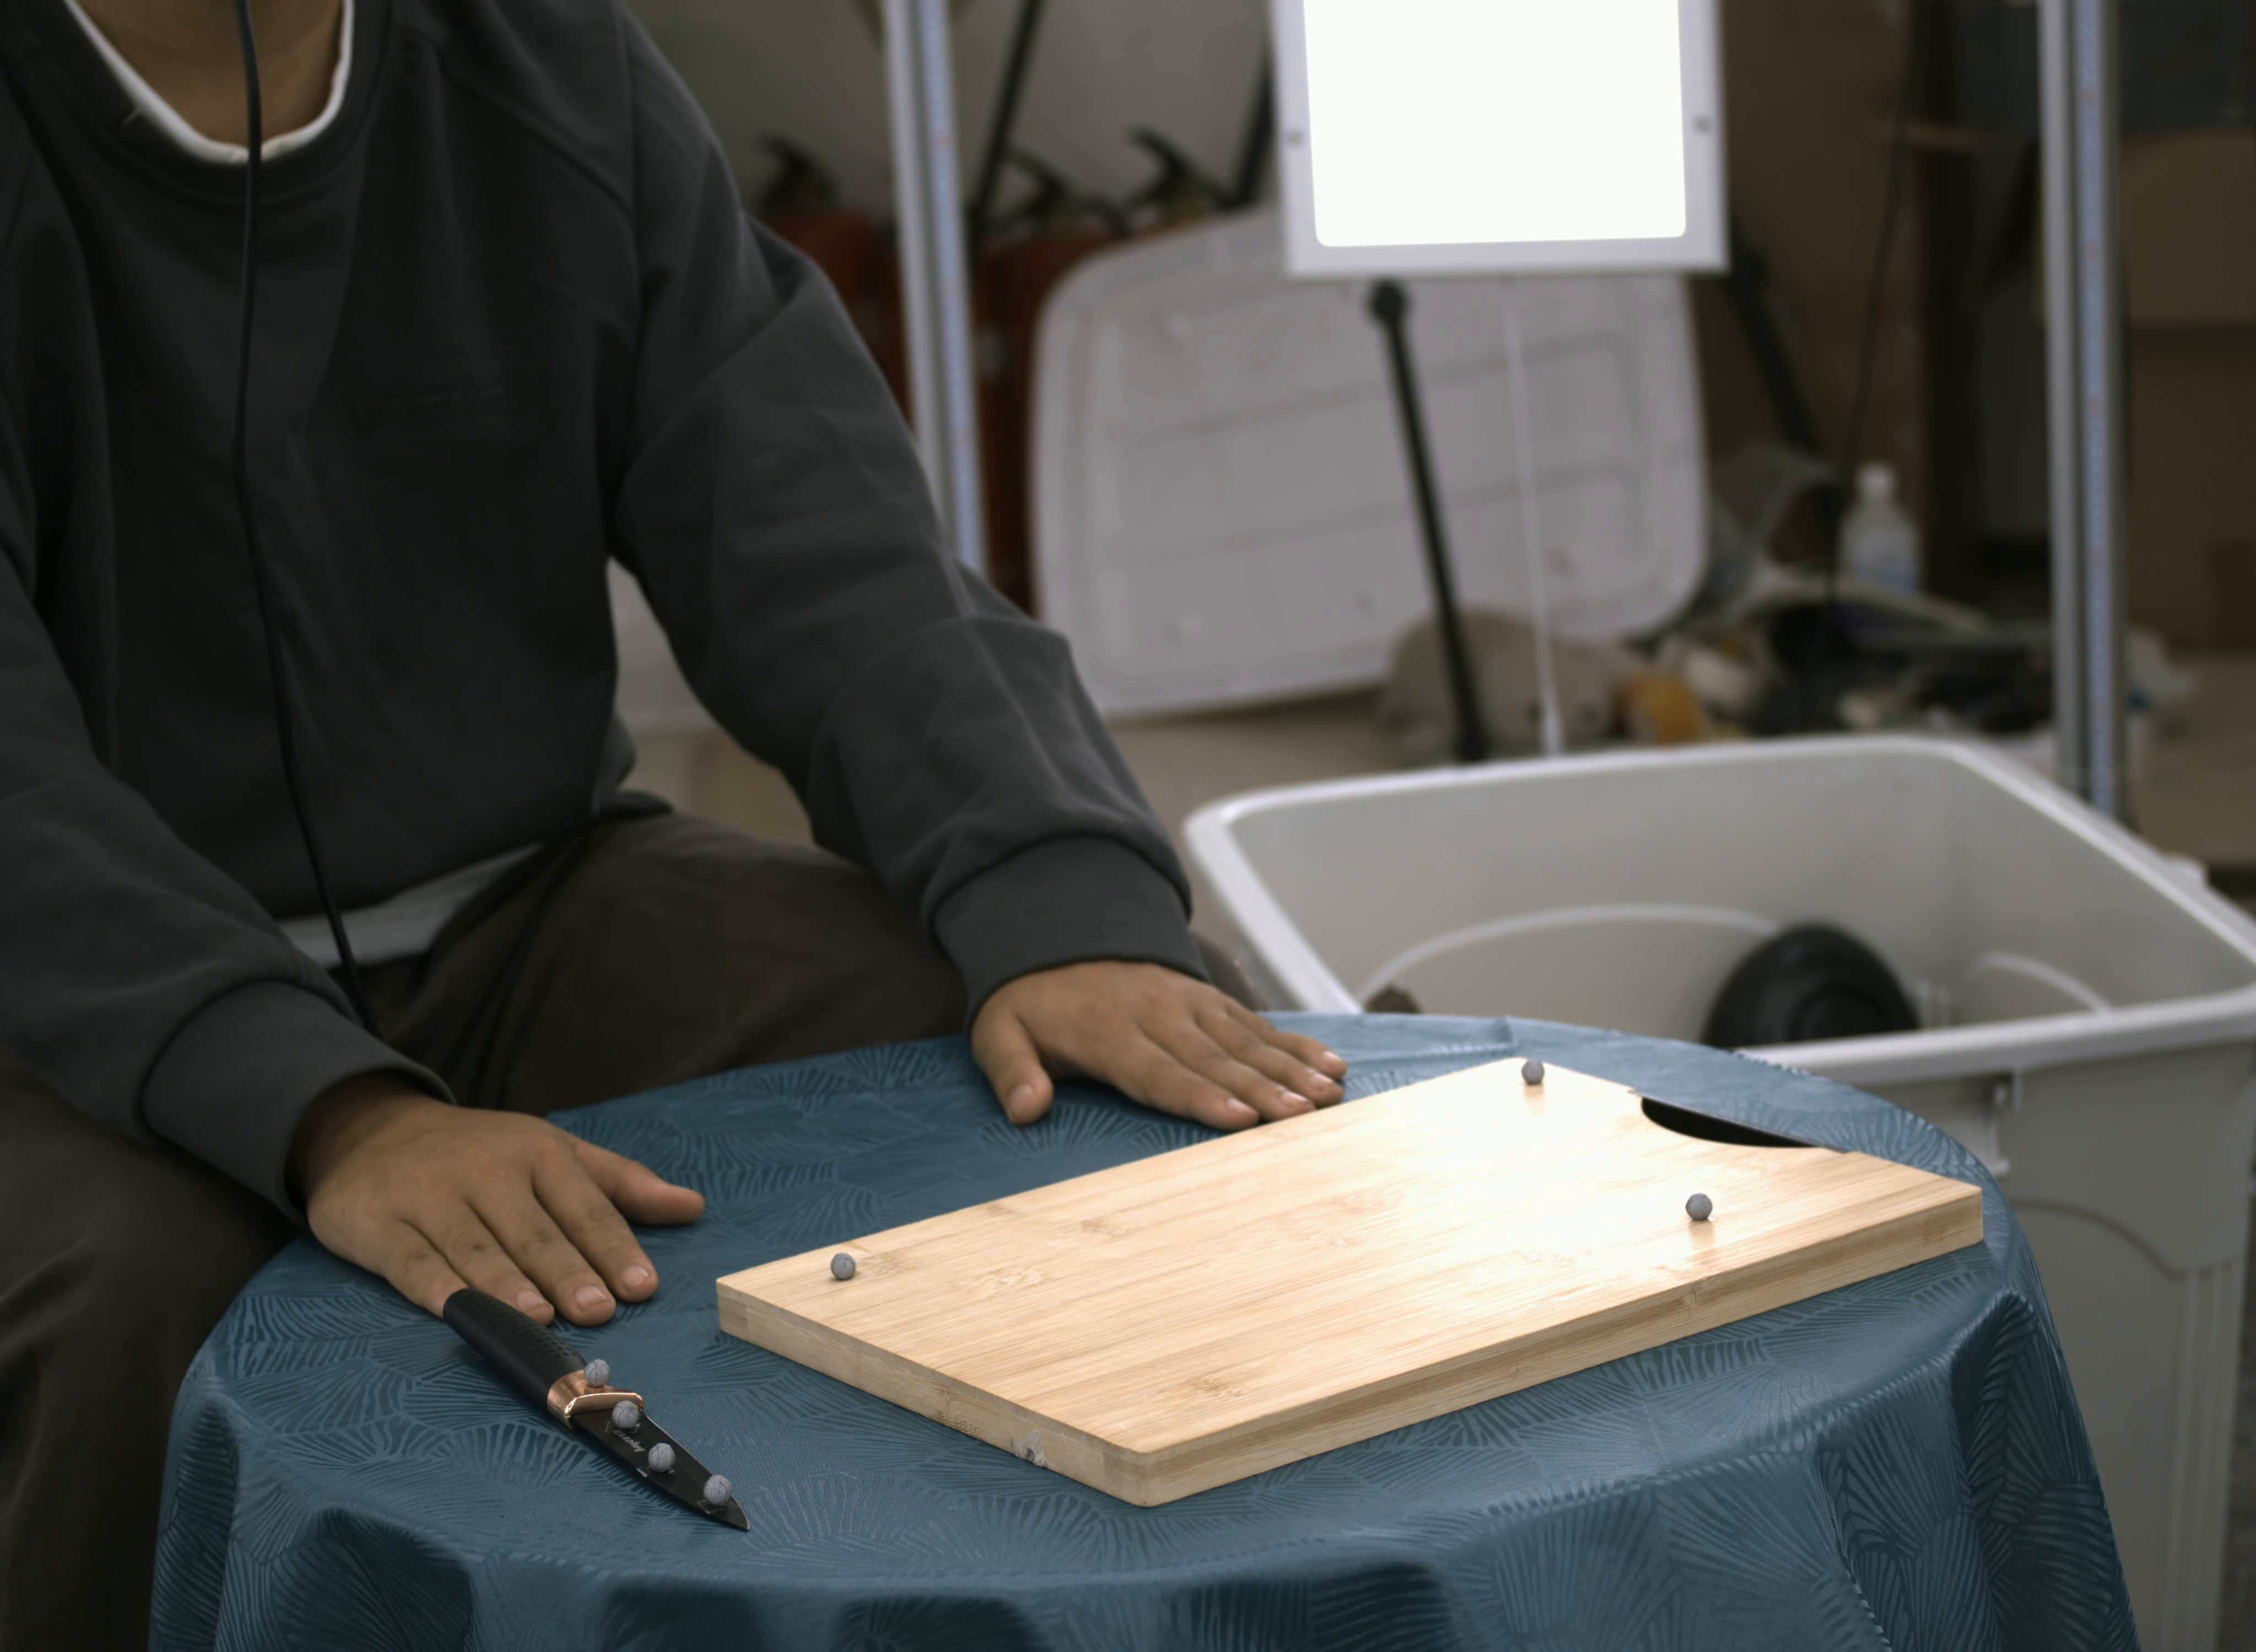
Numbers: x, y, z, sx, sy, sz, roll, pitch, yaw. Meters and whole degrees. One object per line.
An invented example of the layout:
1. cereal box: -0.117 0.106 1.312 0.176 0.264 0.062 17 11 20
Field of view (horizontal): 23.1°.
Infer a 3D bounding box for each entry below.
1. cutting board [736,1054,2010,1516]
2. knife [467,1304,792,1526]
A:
1. cutting board: 0.078 0.140 1.780 0.340 0.023 0.256 -14 16 -33
2. knife: -0.157 0.182 1.704 0.025 0.017 0.229 -5 13 -26
